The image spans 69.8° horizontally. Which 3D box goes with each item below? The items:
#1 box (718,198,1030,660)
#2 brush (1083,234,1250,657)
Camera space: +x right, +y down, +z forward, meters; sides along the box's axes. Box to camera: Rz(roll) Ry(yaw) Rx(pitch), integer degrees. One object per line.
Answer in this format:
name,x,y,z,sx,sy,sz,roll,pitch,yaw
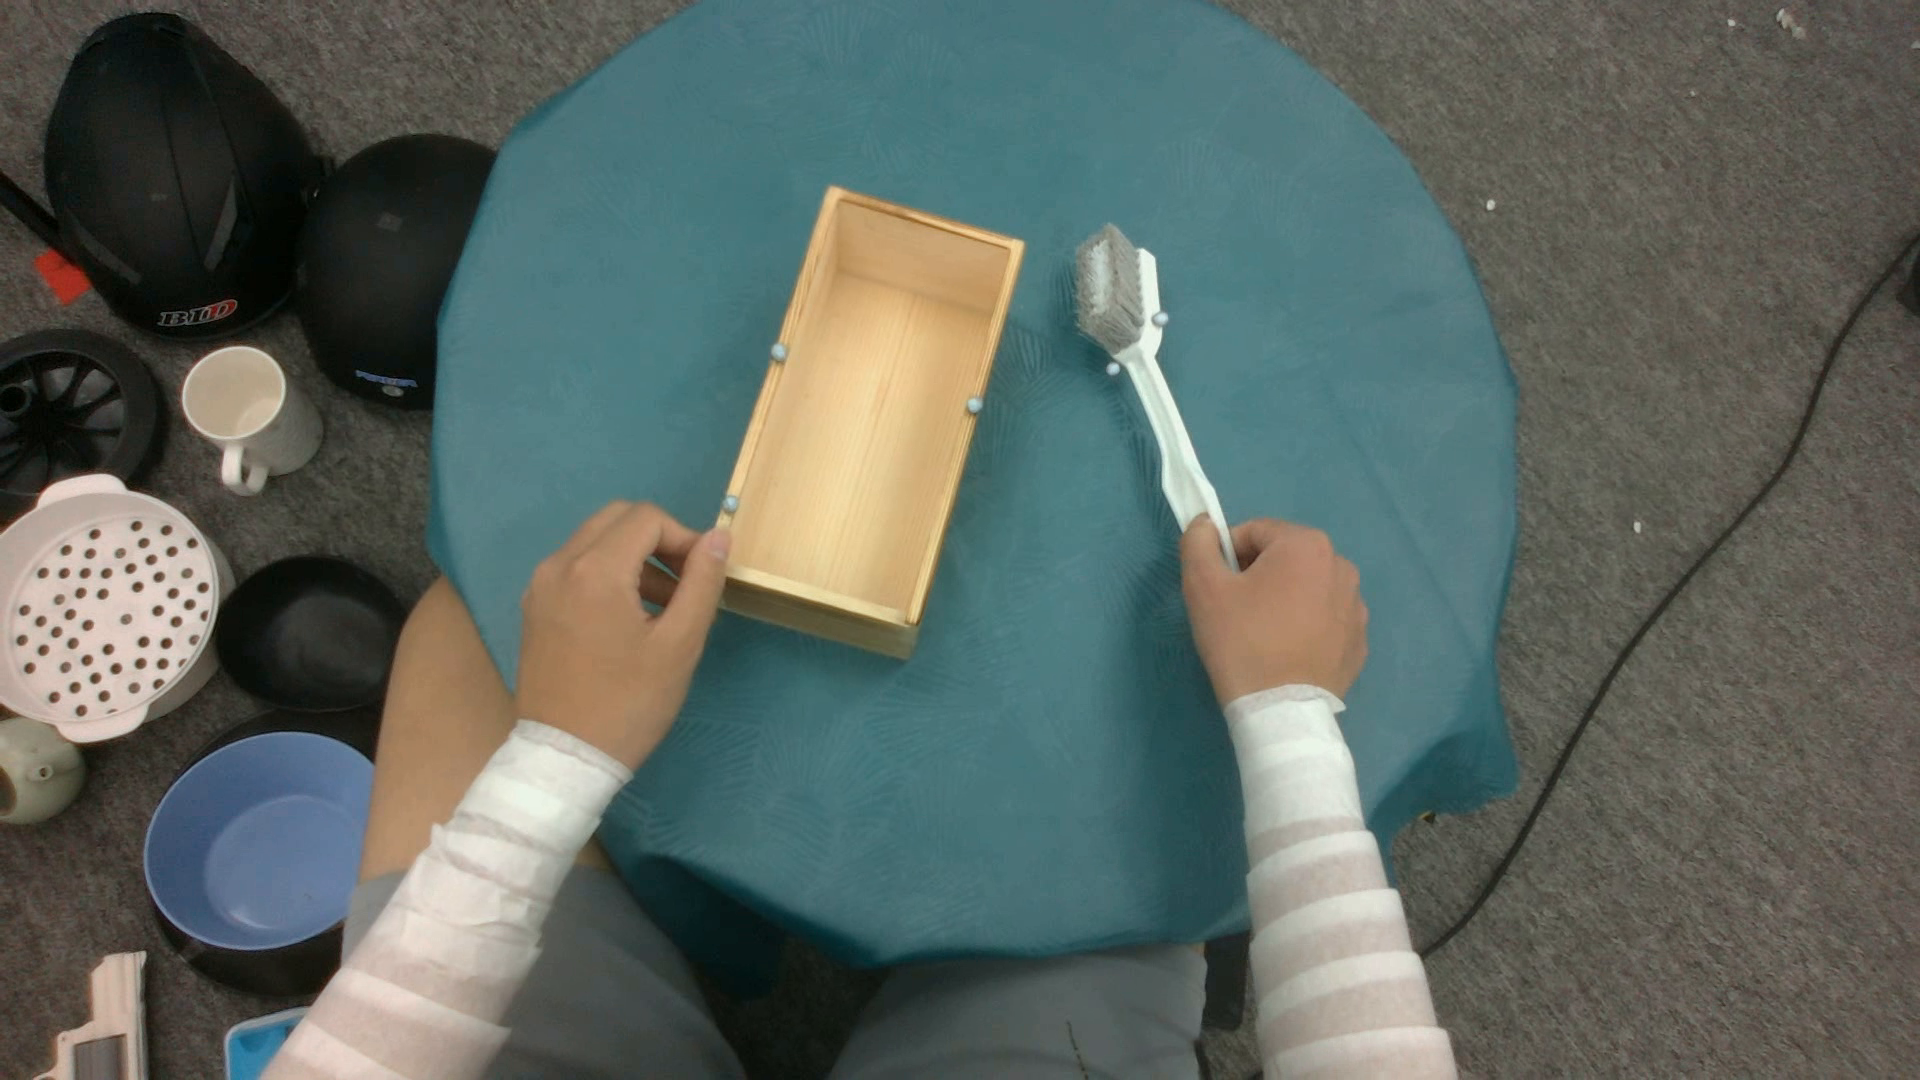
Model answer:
box,-0.043,-0.057,0.722,0.107,0.080,0.212,15,73,-1
brush,0.108,-0.054,0.746,0.050,0.034,0.244,6,65,-43
